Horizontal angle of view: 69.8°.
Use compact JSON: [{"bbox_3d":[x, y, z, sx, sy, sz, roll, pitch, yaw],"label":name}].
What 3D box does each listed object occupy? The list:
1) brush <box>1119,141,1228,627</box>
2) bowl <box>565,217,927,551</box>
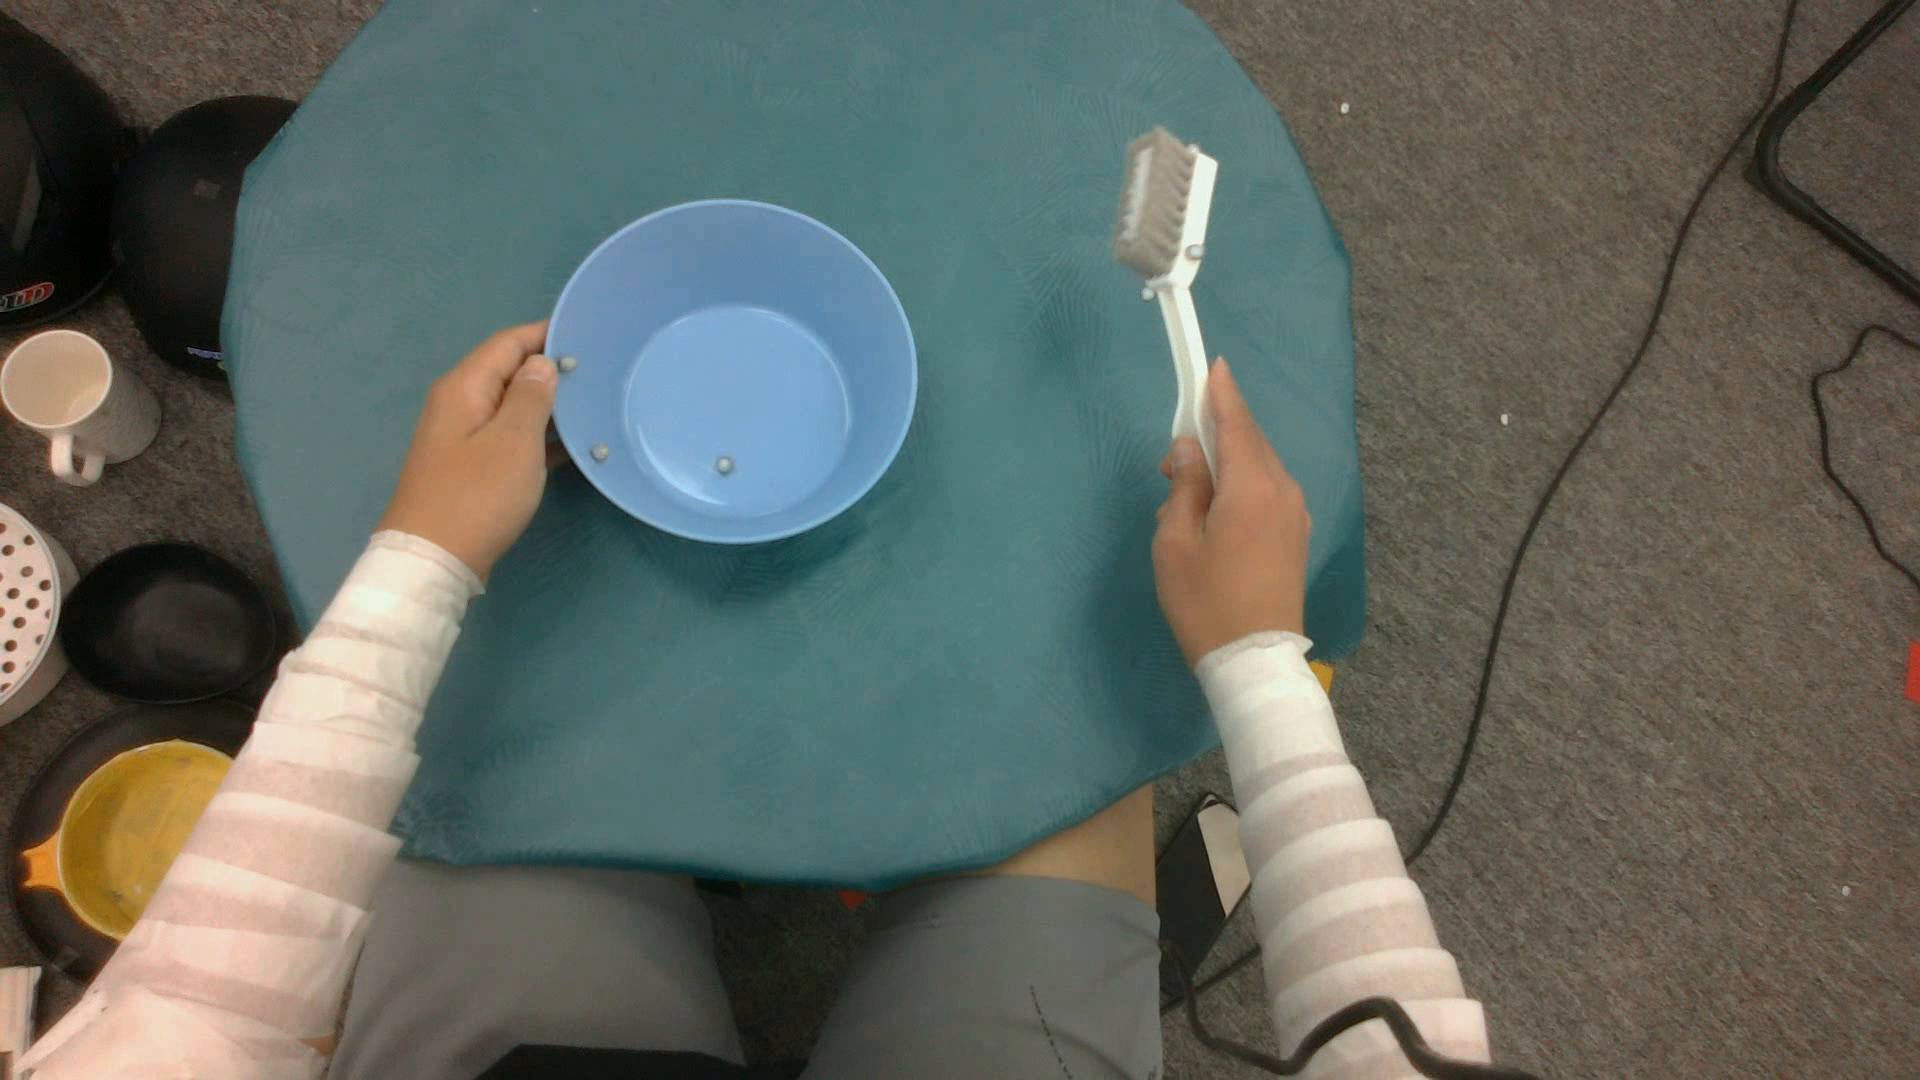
[{"bbox_3d":[0.108,-0.078,0.695,0.050,0.034,0.243,0,88,-30],"label":"brush"},{"bbox_3d":[-0.107,-0.071,0.705,0.176,0.070,0.176,2,74,-6],"label":"bowl"}]
